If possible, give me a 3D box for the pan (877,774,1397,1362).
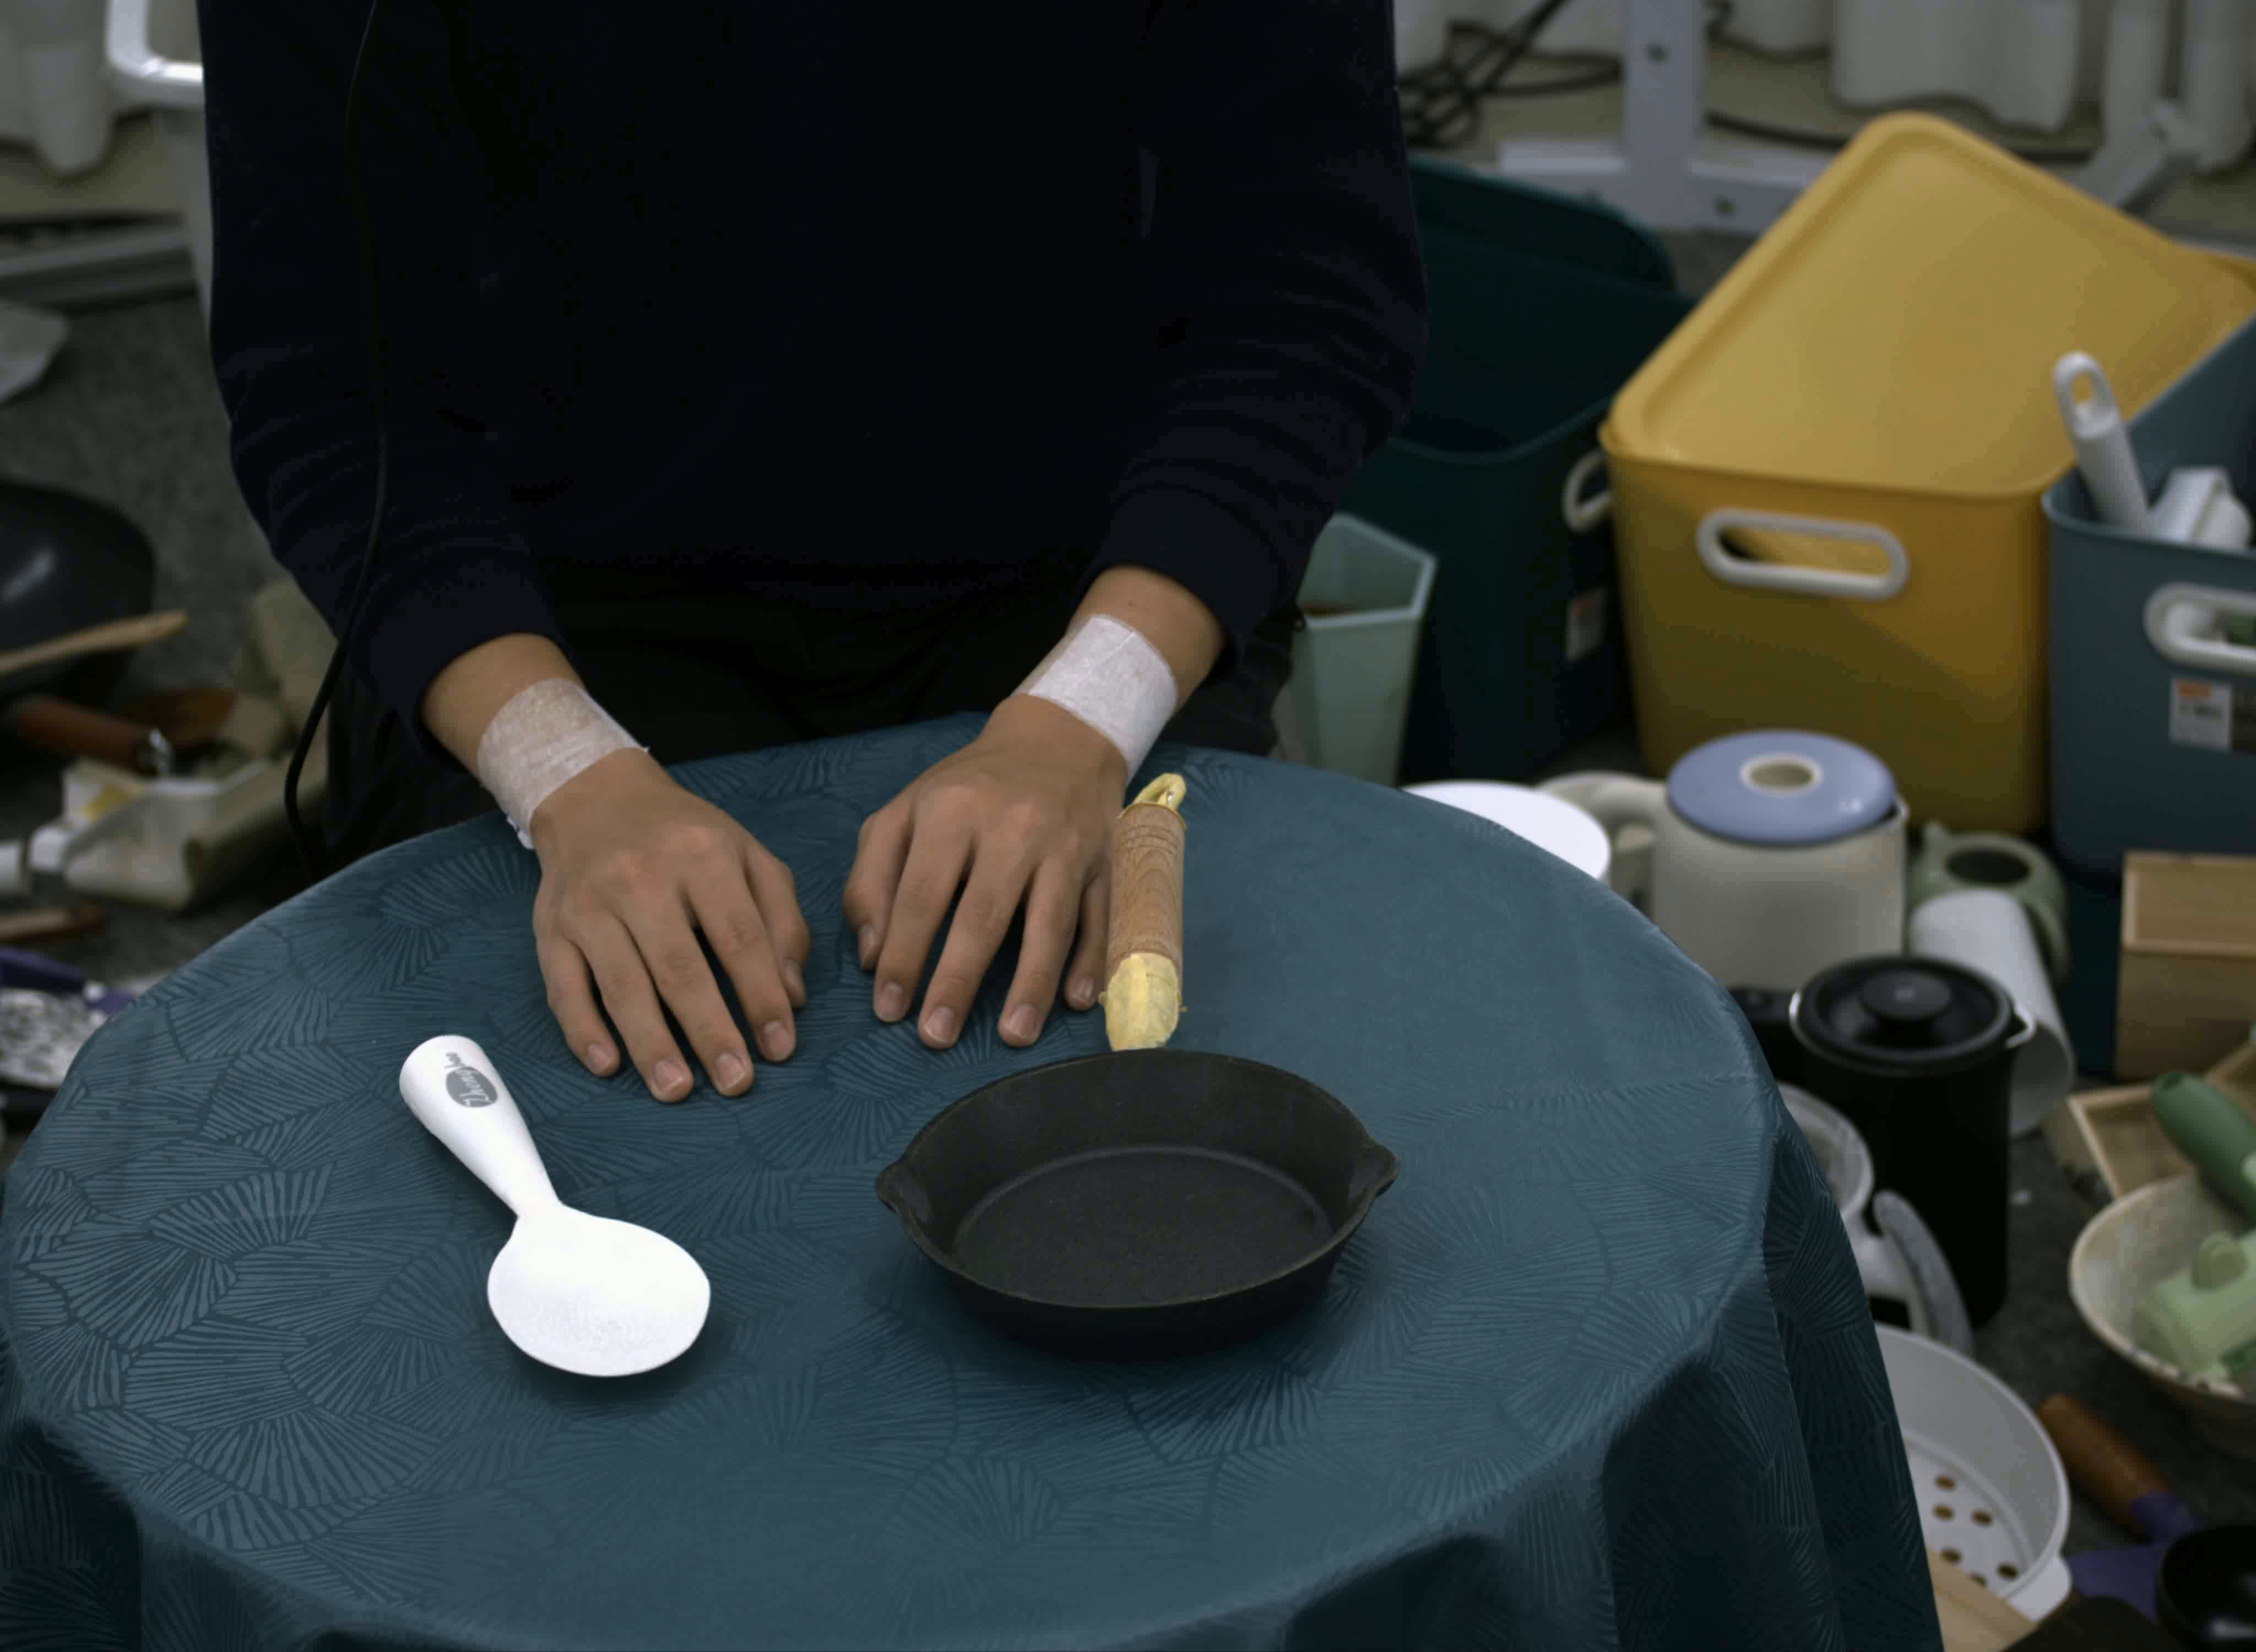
[{"bbox_3d":[0.007,0.078,1.890,0.168,0.049,0.329,-1,29,4],"label":"pan"}]

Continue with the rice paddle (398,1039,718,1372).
[{"bbox_3d":[-0.192,0.126,1.841,0.069,0.029,0.206,-16,30,-20],"label":"rice paddle"}]
